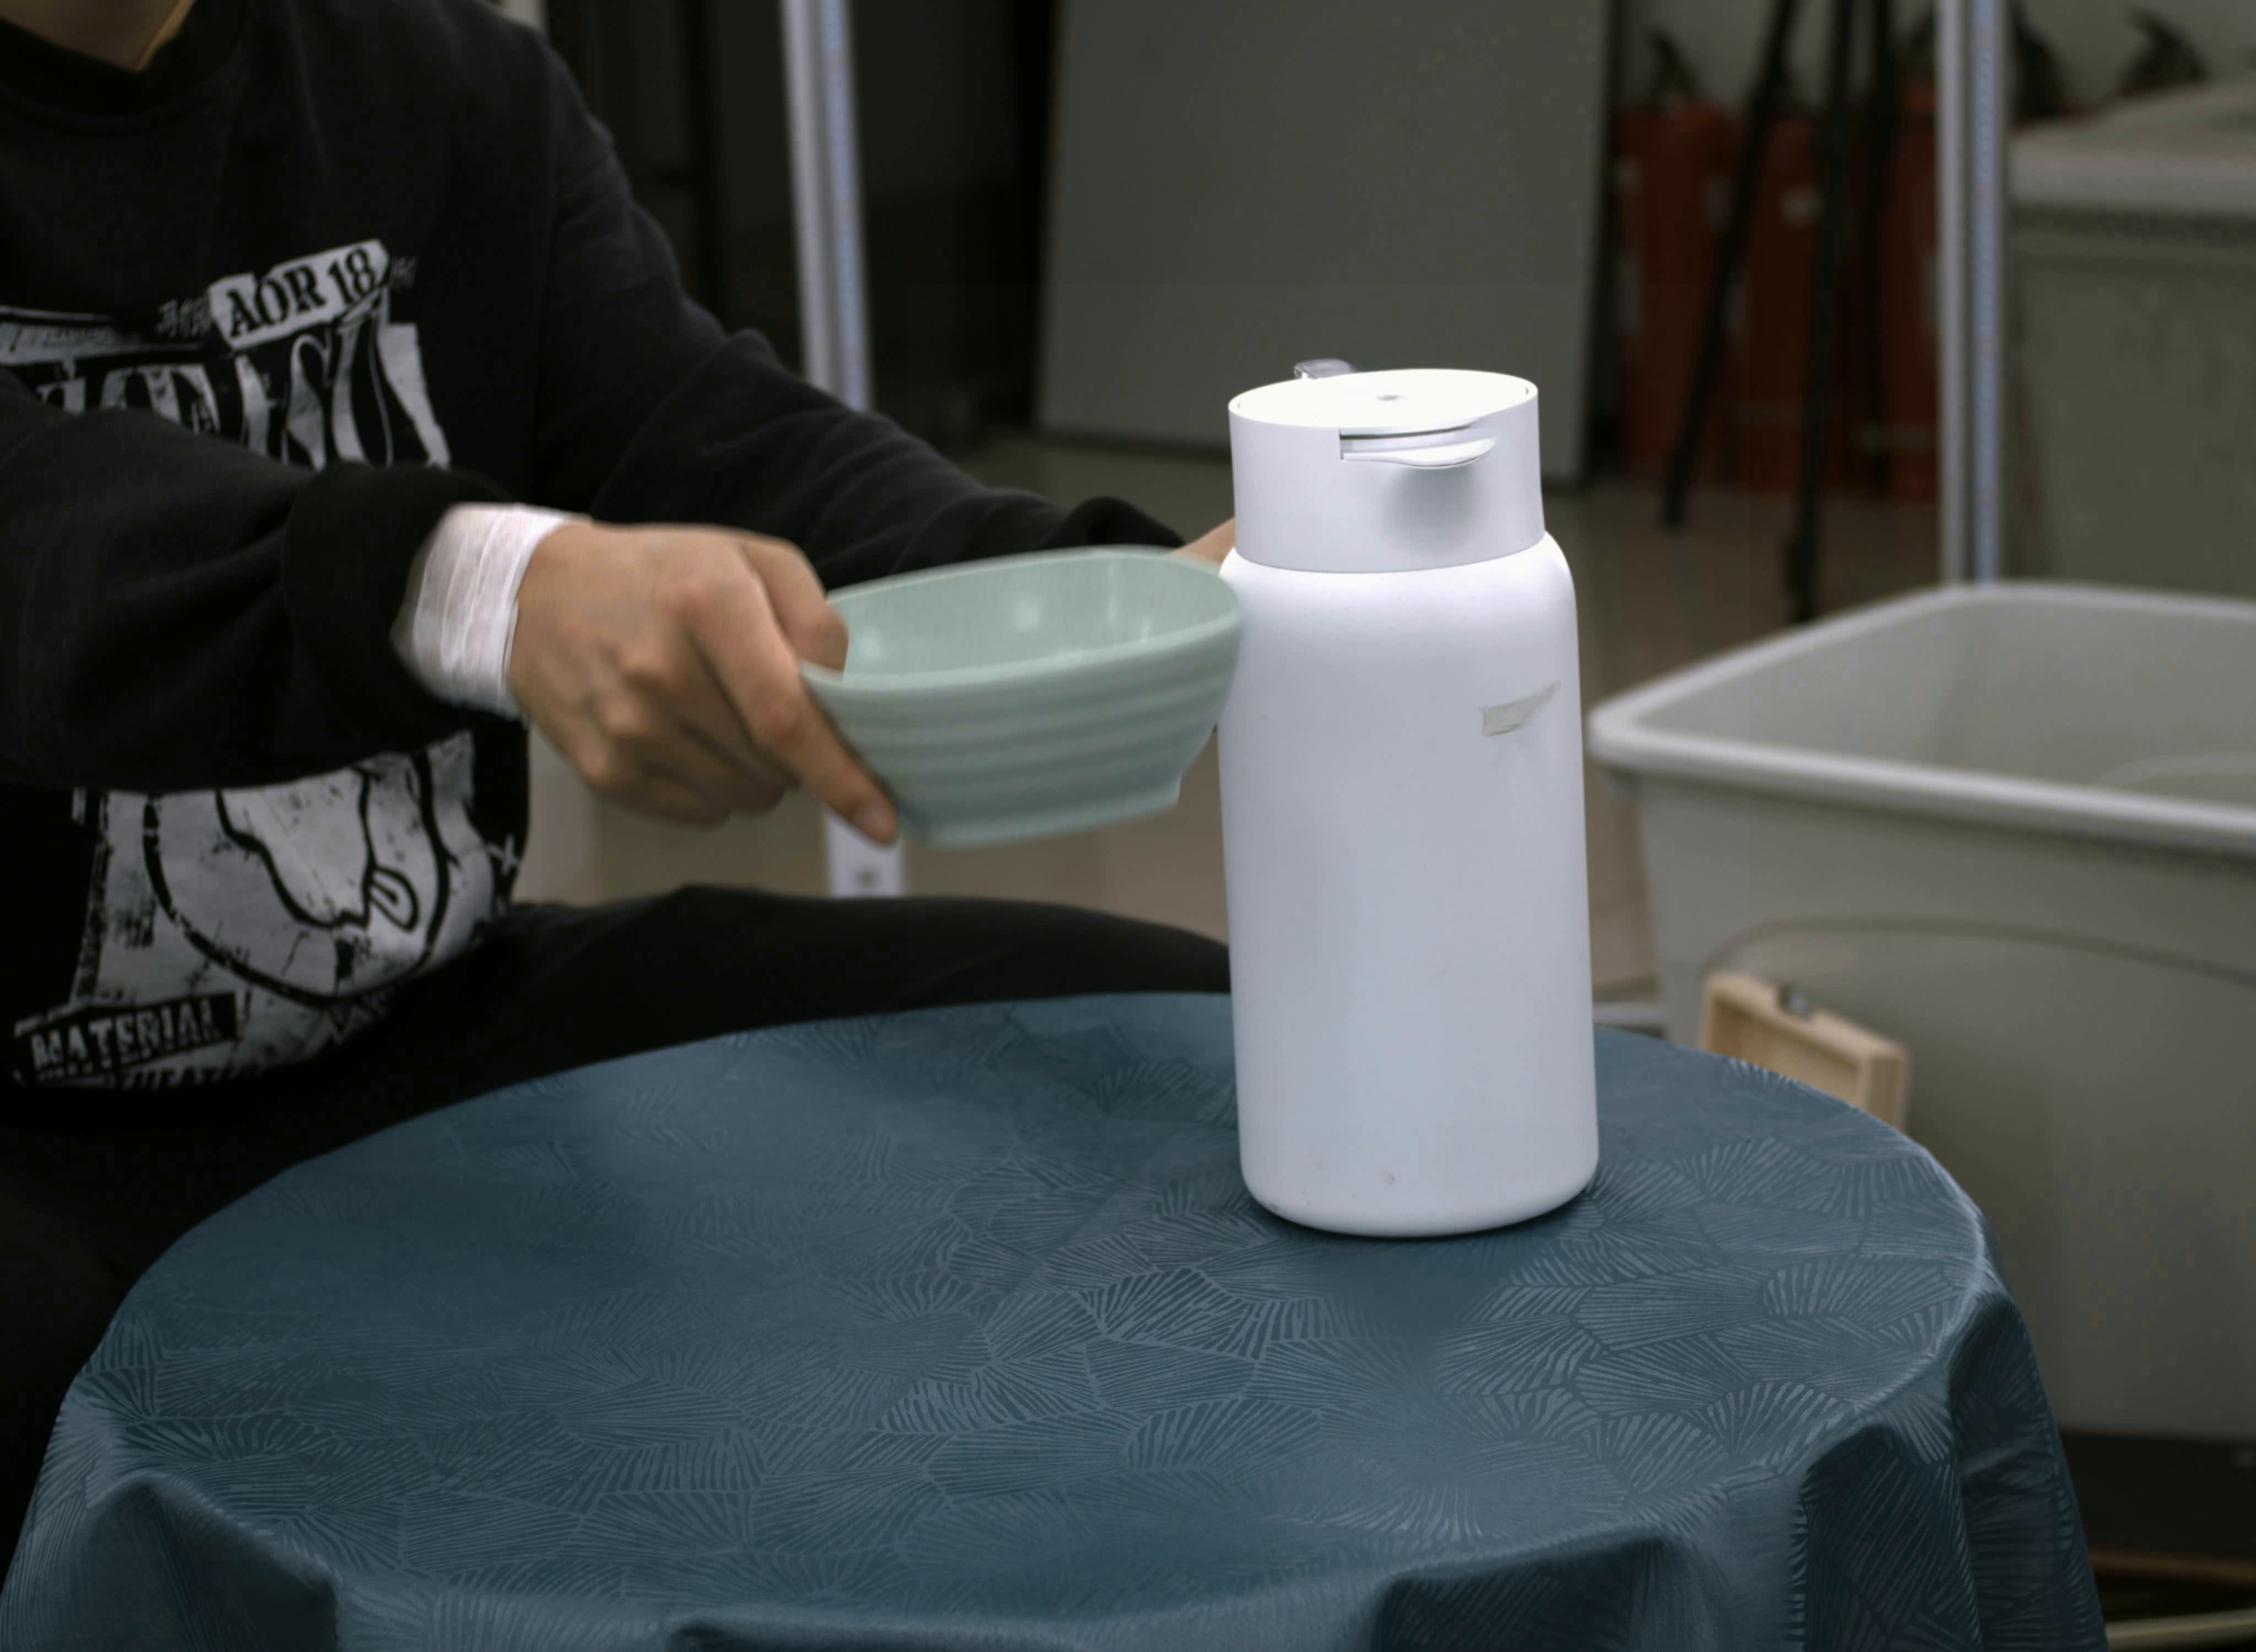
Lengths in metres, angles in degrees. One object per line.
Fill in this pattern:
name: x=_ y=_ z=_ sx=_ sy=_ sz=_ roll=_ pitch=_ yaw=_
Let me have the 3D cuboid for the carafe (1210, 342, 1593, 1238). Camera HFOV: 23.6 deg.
carafe: x=0.080 y=-0.015 z=1.739 sx=0.121 sy=0.272 sz=0.174 roll=-9 pitch=14 yaw=-13

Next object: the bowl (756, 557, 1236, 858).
bowl: x=-0.036 y=-0.032 z=1.571 sx=0.149 sy=0.059 sz=0.152 roll=-7 pitch=15 yaw=1
